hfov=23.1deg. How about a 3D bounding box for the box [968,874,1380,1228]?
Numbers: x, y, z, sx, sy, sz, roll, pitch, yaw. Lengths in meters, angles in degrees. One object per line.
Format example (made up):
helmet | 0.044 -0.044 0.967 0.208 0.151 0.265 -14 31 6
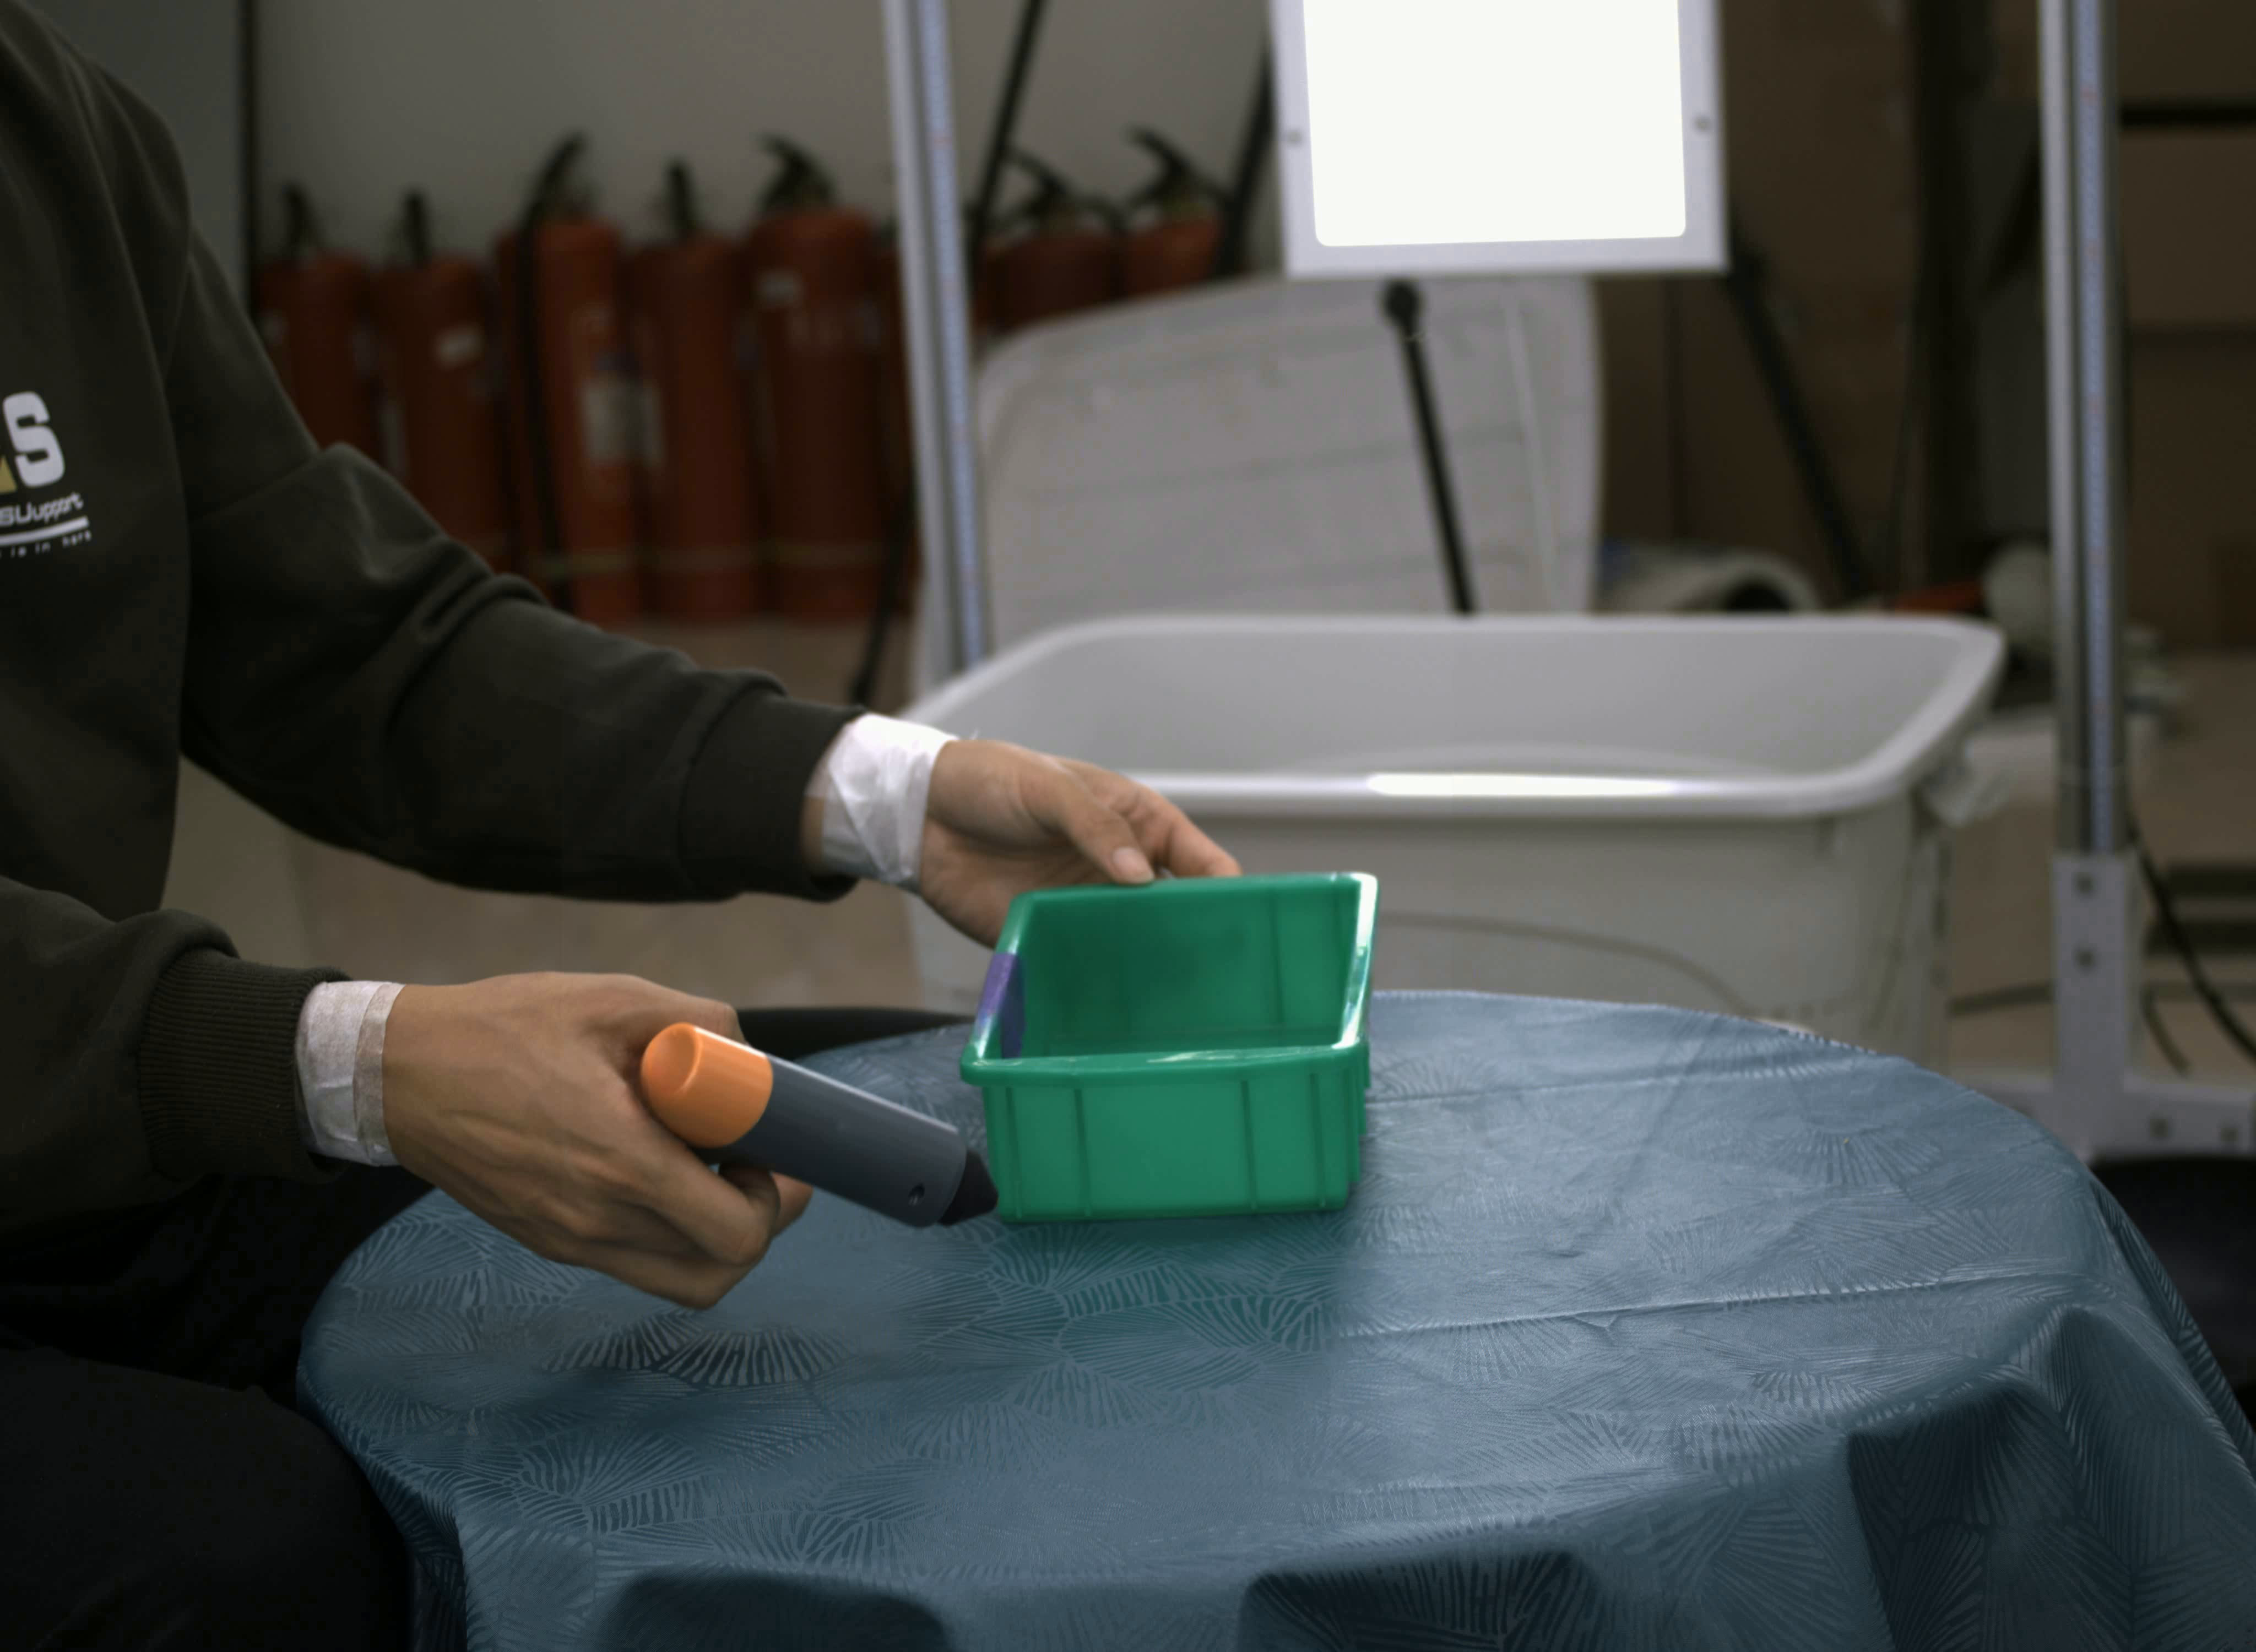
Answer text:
box | 0.021 0.079 1.942 0.139 0.065 0.209 -4 18 6

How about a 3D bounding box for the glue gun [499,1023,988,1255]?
glue gun | -0.125 0.107 1.765 0.143 0.041 0.116 -10 -37 46
